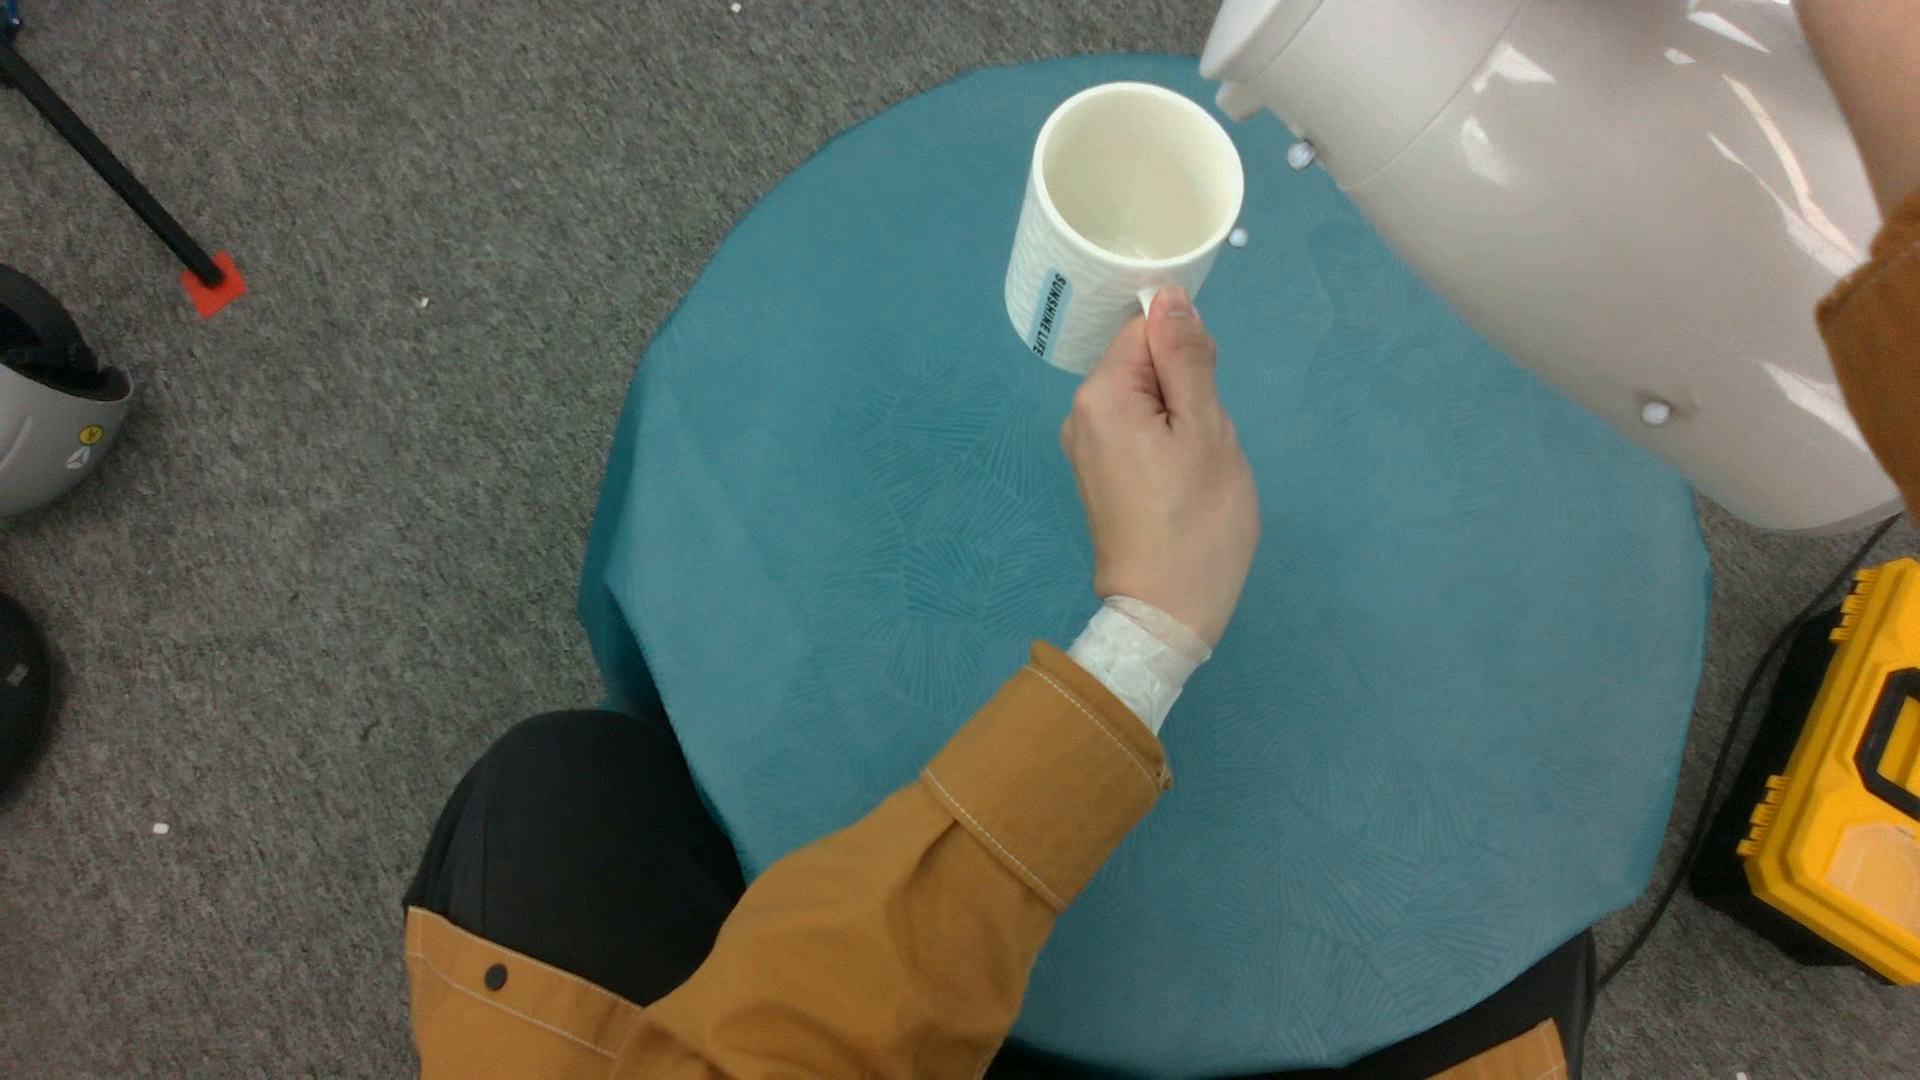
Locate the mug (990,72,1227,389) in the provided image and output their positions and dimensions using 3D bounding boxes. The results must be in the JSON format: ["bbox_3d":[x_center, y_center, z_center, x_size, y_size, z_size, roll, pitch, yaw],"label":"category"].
[{"bbox_3d":[0.064,-0.120,0.591,0.085,0.101,0.118,-12,71,-11],"label":"mug"}]

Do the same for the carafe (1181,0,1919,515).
[{"bbox_3d":[0.199,-0.132,0.417,0.248,0.167,0.133,31,63,-10],"label":"carafe"}]
